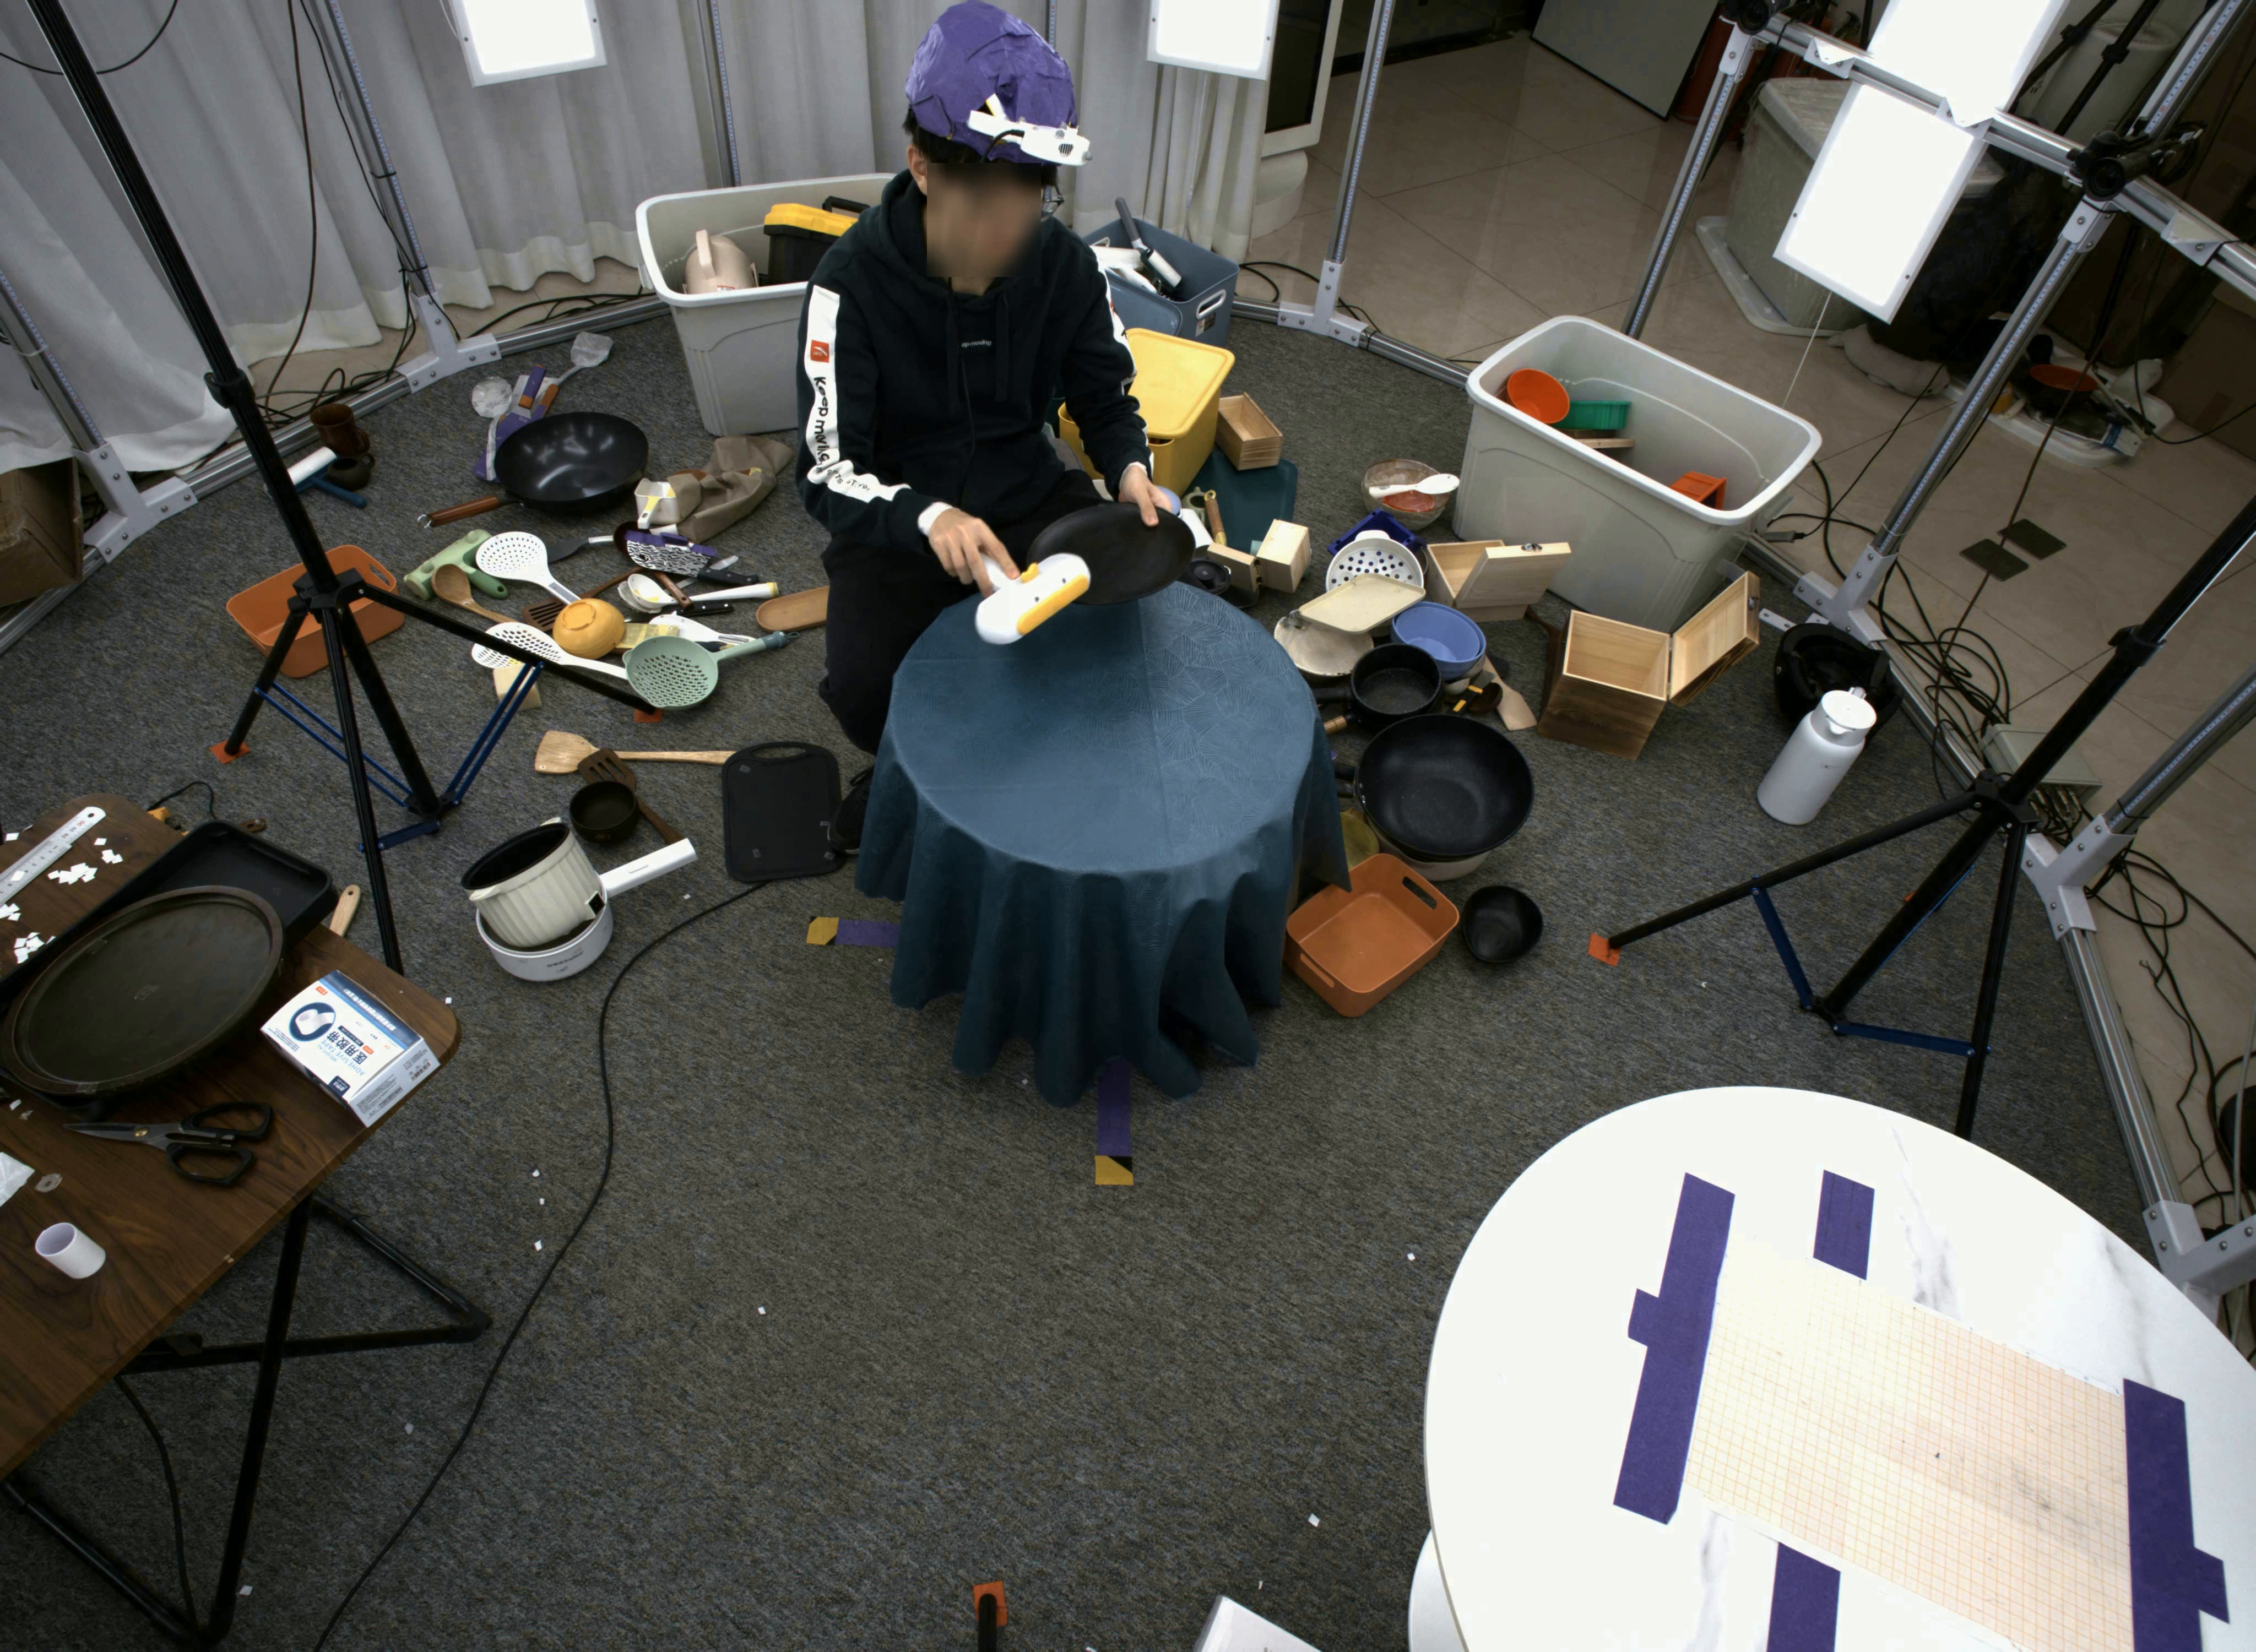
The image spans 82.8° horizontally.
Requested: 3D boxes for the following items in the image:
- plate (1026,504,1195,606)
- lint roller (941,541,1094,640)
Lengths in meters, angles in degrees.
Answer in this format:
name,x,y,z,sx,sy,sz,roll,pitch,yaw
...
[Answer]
name,x,y,z,sx,sy,sz,roll,pitch,yaw
plate,-0.024,-0.383,1.836,0.244,0.023,0.250,-5,45,5
lint roller,-0.169,-0.336,1.747,0.194,0.072,0.196,20,50,26
